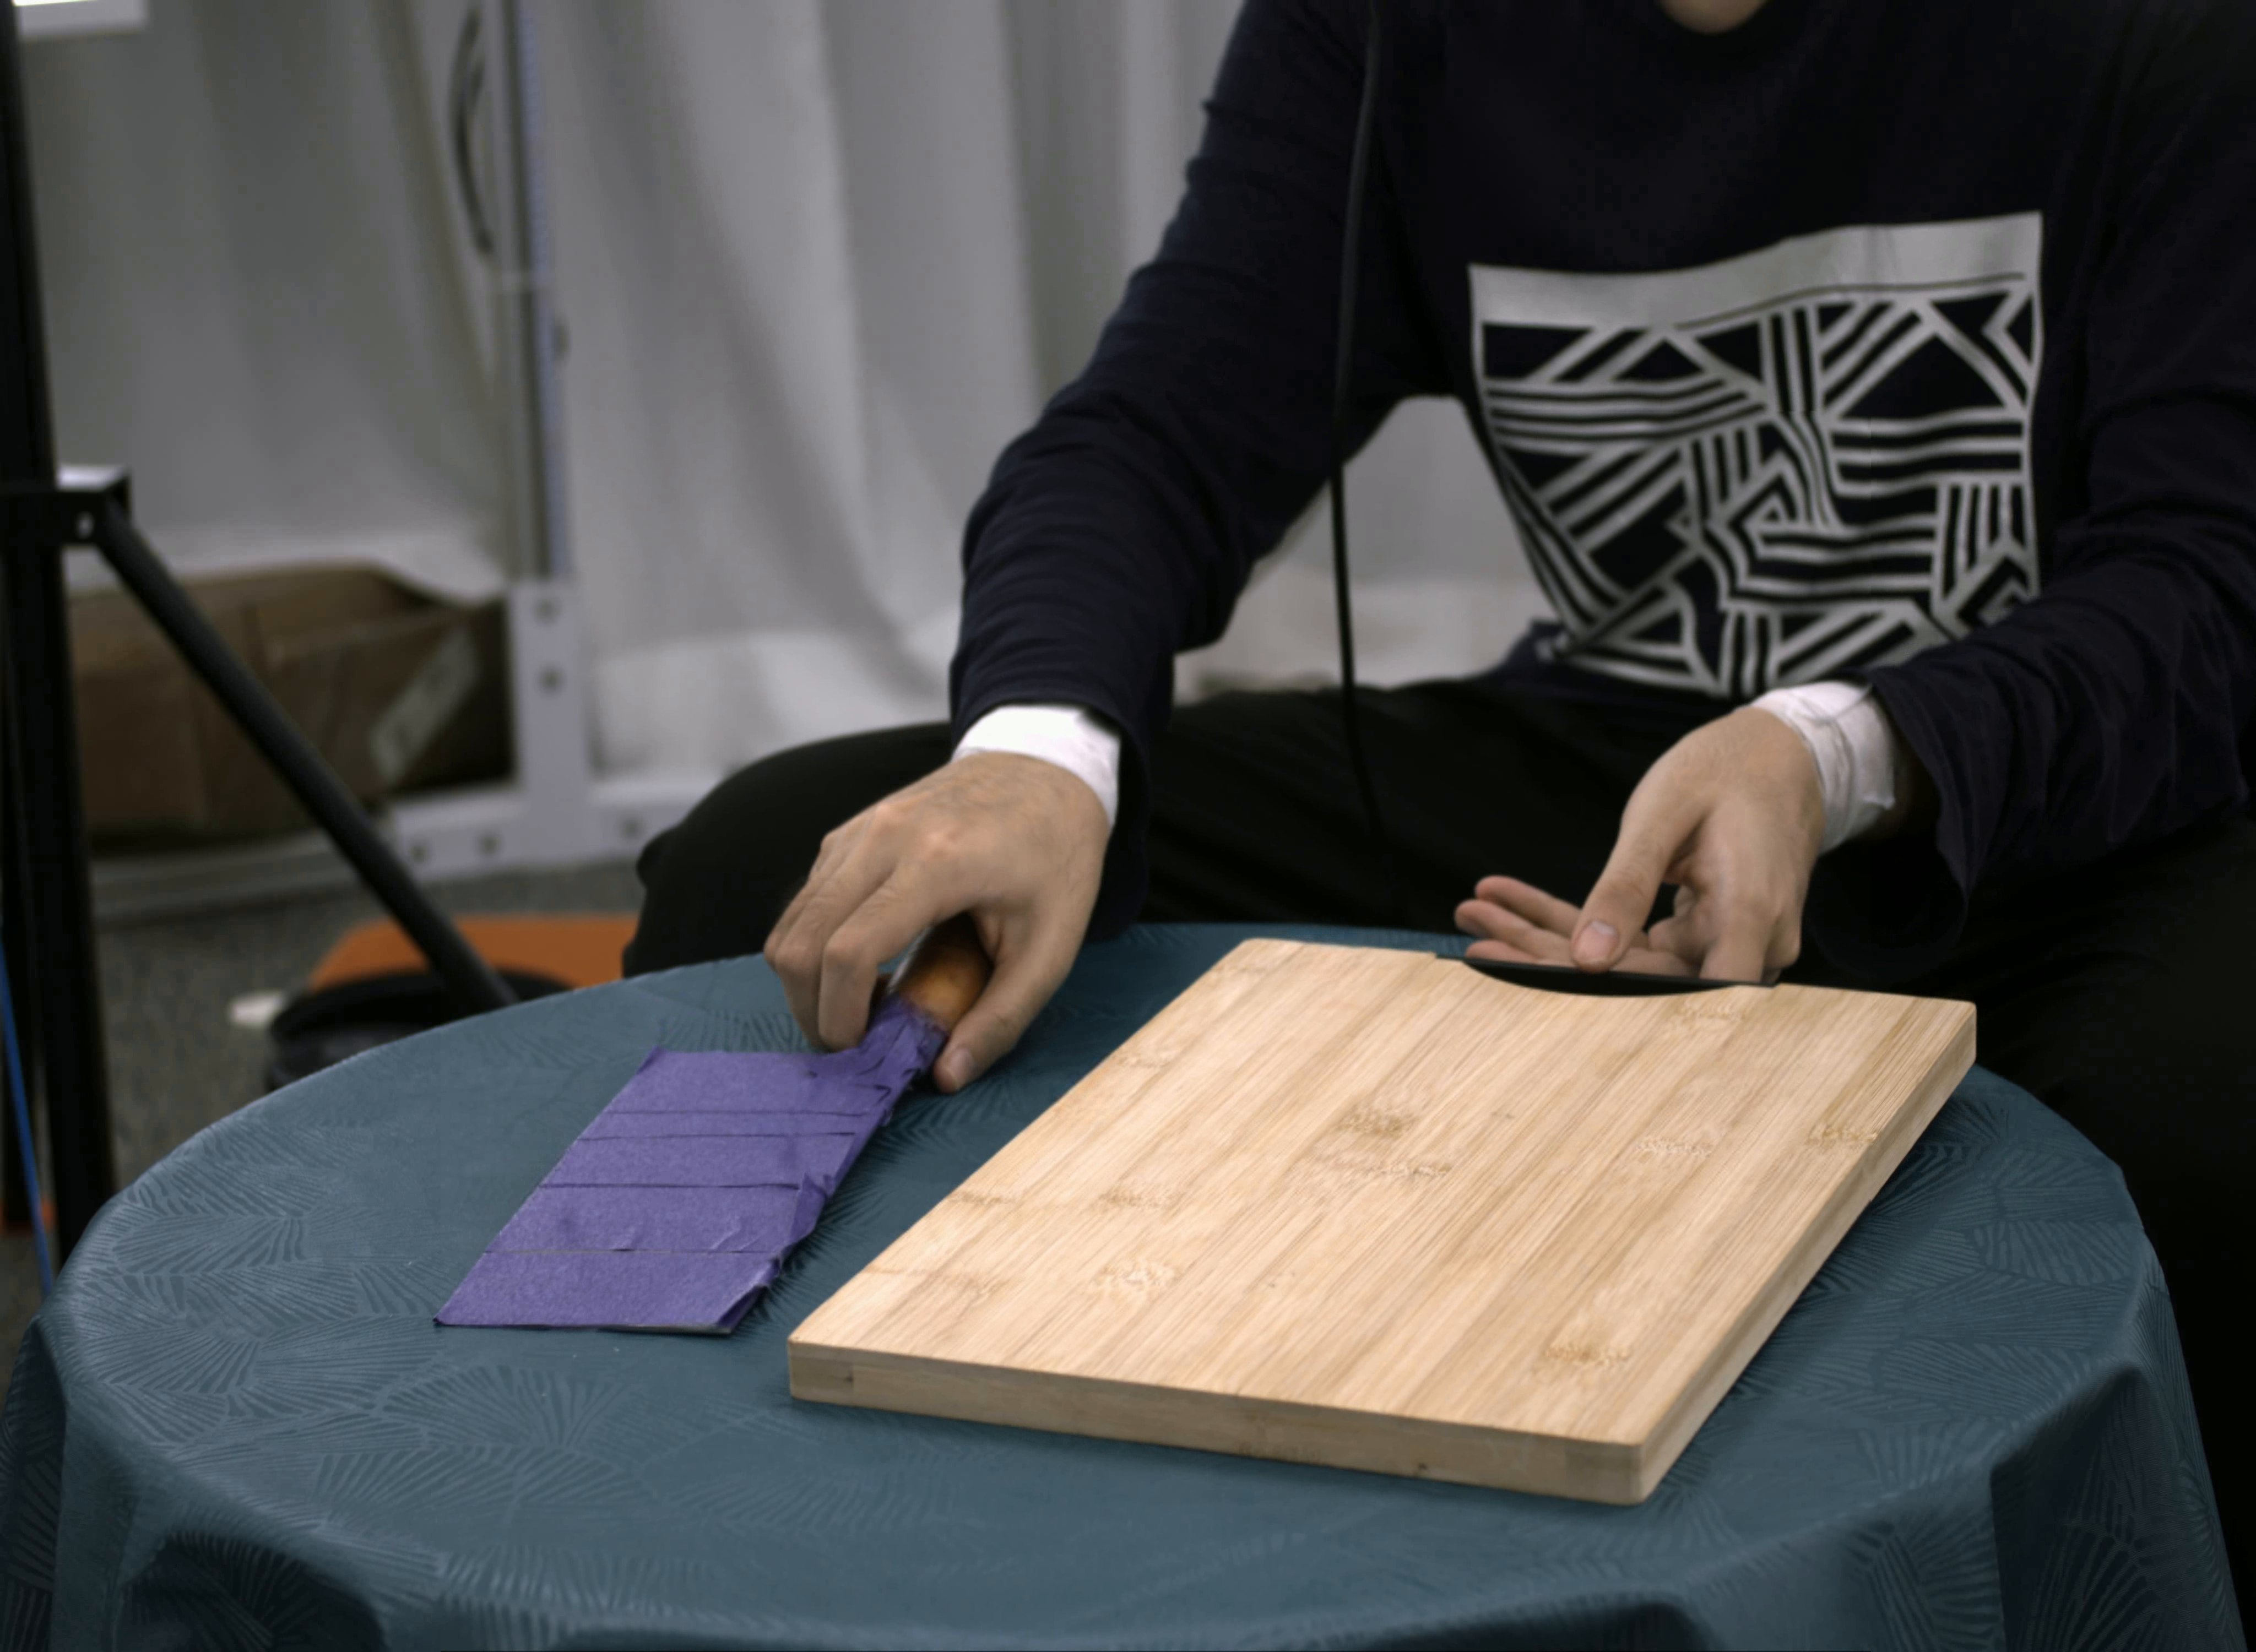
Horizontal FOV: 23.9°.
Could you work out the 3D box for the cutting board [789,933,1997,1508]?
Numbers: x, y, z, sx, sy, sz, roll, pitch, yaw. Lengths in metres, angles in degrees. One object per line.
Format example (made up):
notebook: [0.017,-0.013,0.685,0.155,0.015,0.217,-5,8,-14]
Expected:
cutting board: [0.086,0.103,1.514,0.254,0.023,0.344,4,19,23]

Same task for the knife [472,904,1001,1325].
knife: [-0.115,0.084,1.610,0.104,0.032,0.313,1,17,13]
